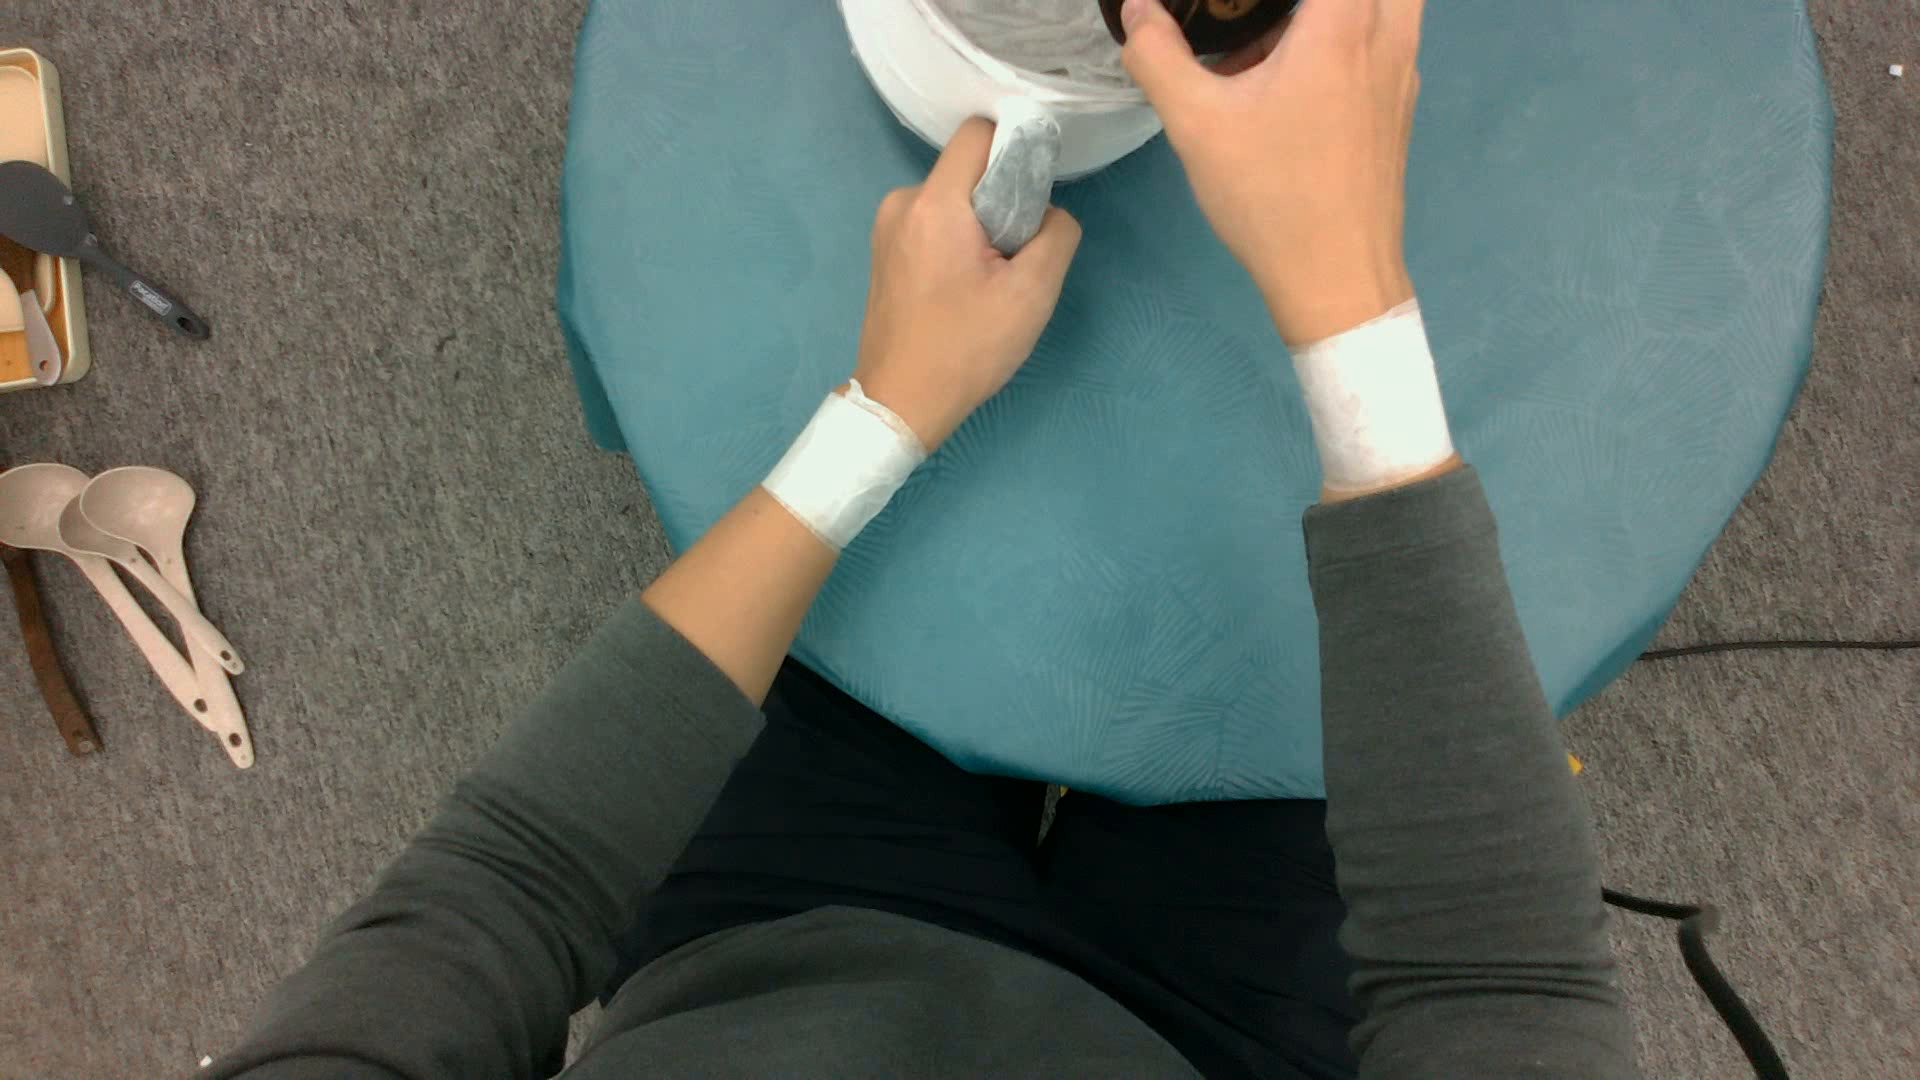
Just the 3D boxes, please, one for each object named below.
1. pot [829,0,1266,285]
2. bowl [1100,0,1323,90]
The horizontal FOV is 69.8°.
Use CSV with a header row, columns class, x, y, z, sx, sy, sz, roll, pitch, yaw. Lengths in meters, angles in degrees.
class,x,y,z,sx,sy,sz,roll,pitch,yaw
pot,0.029,-0.229,0.583,0.179,0.136,0.234,11,88,-11
bowl,0.099,-0.227,0.500,0.070,0.118,0.118,-11,87,-12
